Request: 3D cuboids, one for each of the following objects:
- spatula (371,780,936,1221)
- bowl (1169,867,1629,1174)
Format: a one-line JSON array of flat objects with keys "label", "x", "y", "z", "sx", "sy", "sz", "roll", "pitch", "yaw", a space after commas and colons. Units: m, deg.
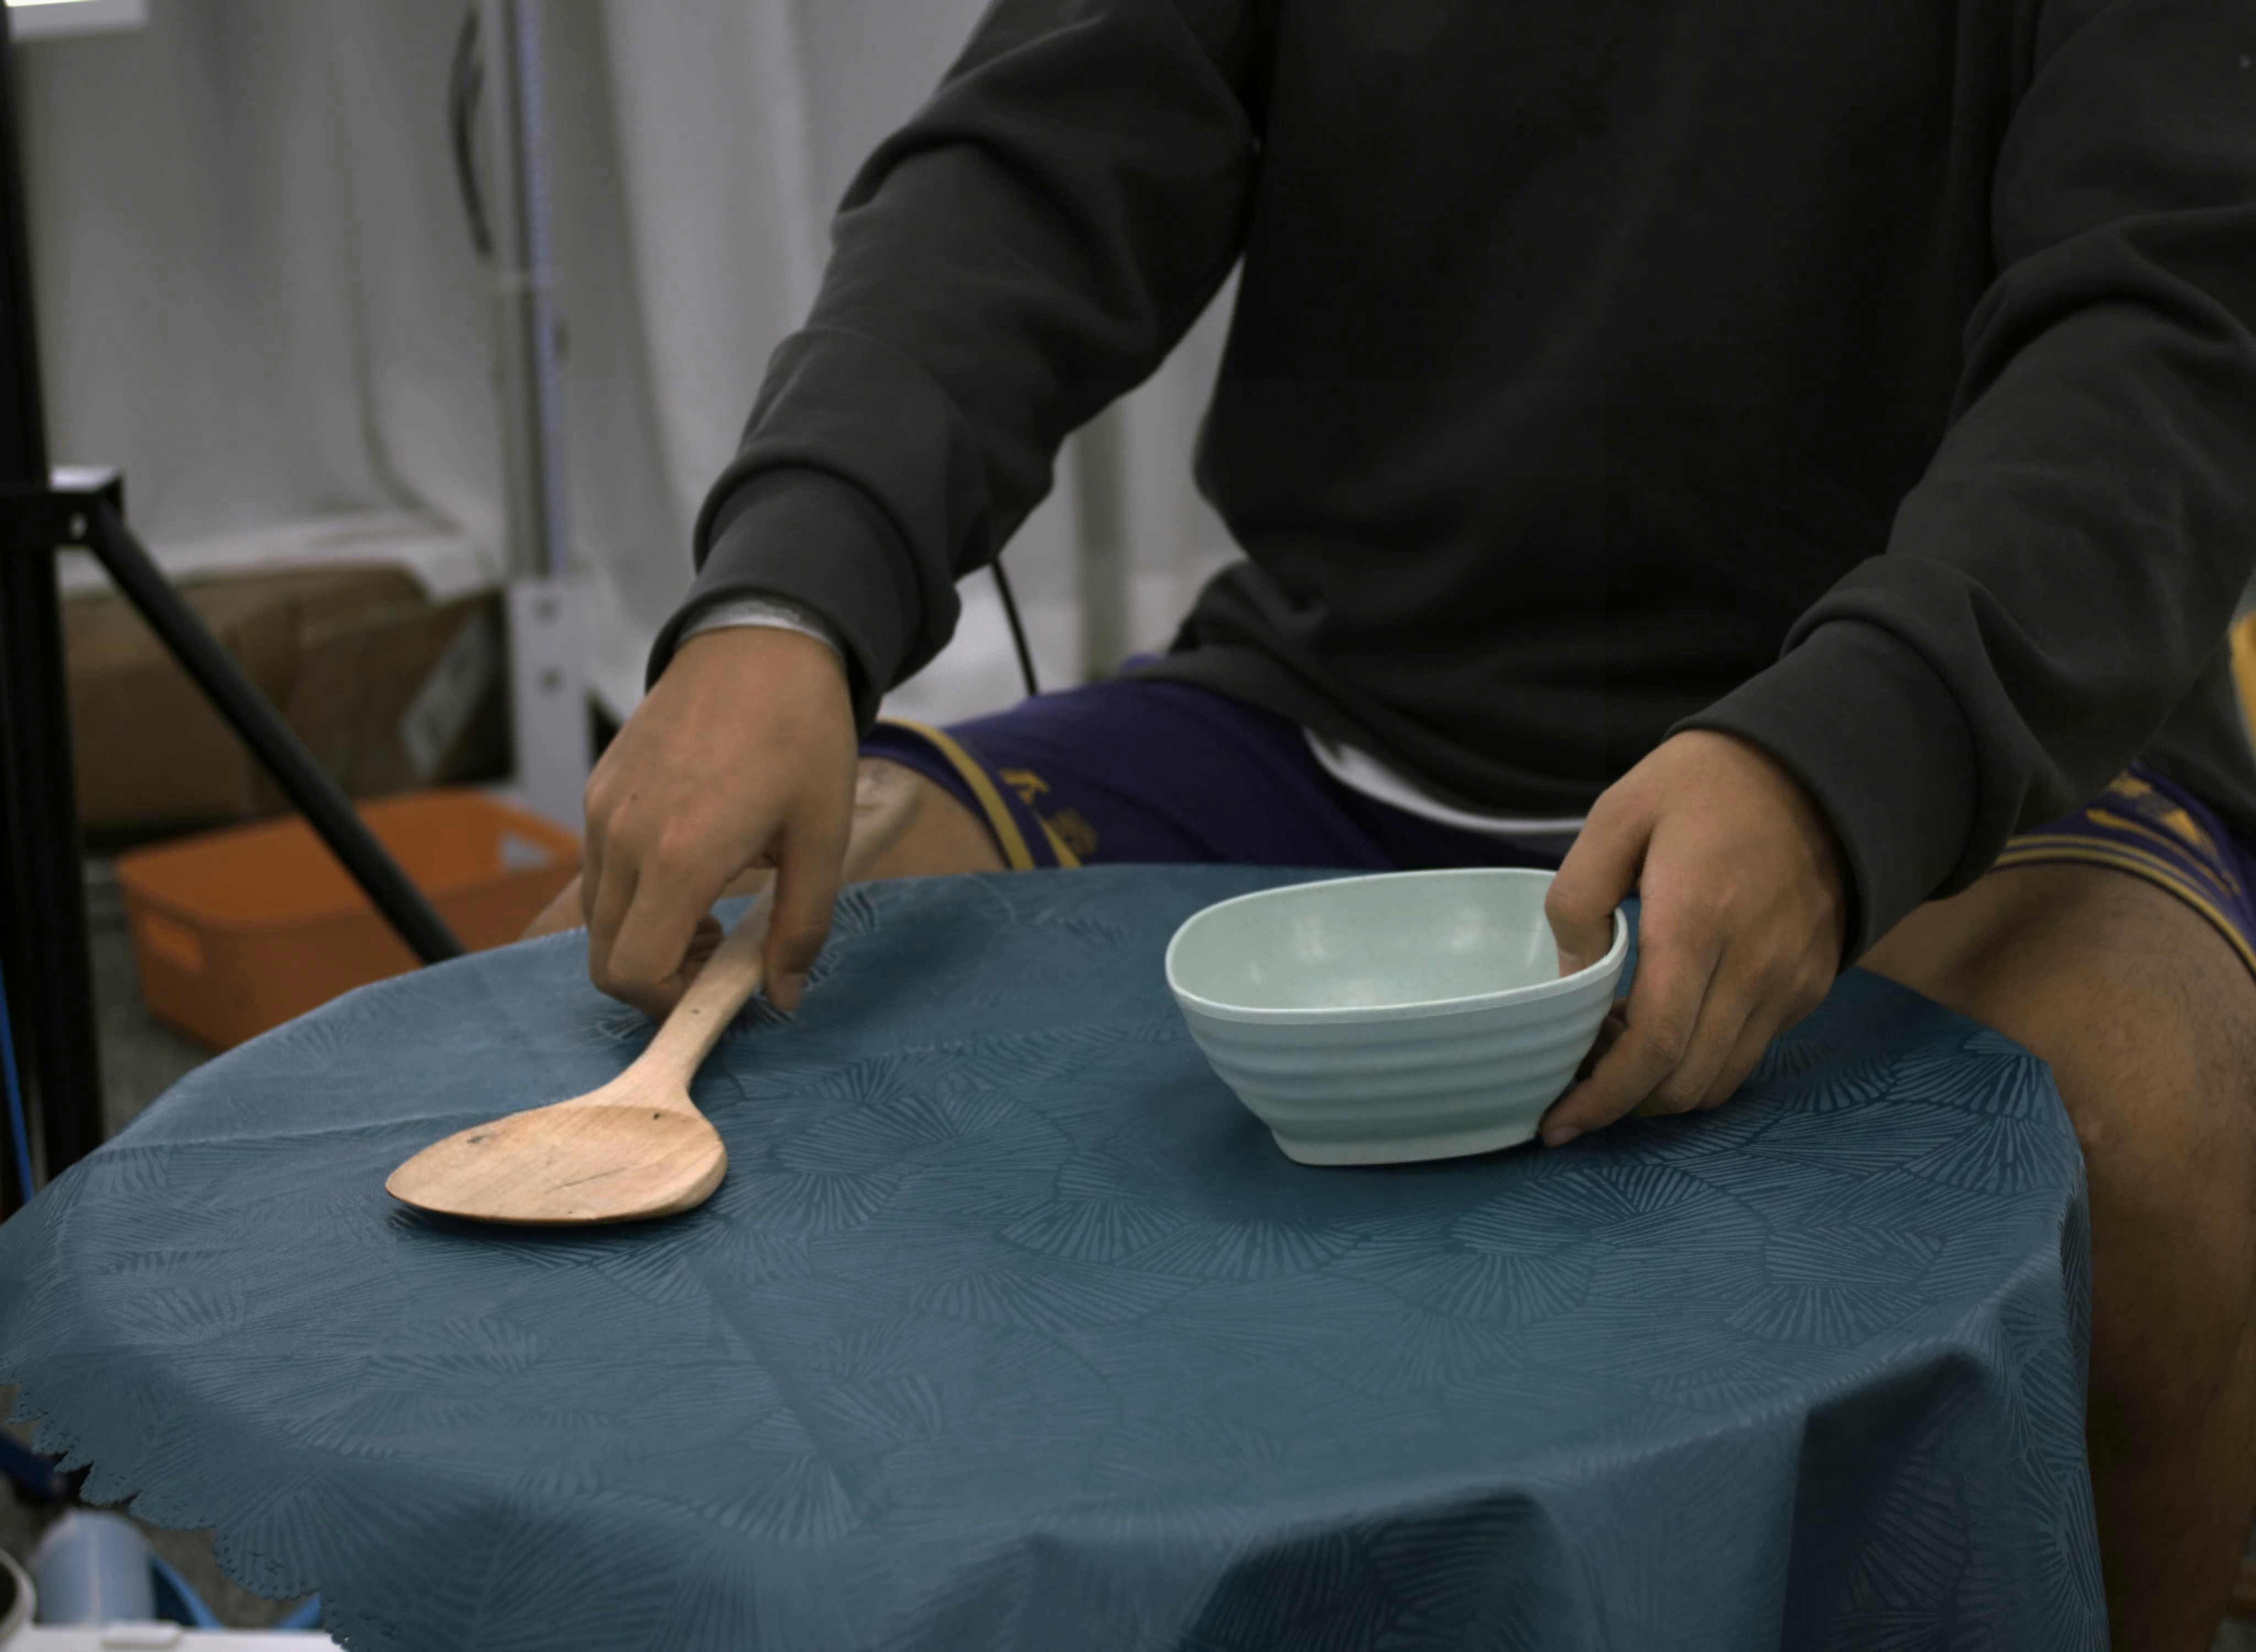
[{"label": "spatula", "x": -0.132, "y": 0.050, "z": 1.721, "sx": 0.096, "sy": 0.018, "sz": 0.388, "roll": 4, "pitch": 22, "yaw": 15}, {"label": "bowl", "x": 0.084, "y": 0.062, "z": 1.600, "sx": 0.151, "sy": 0.058, "sz": 0.152, "roll": -6, "pitch": 17, "yaw": 0}]
